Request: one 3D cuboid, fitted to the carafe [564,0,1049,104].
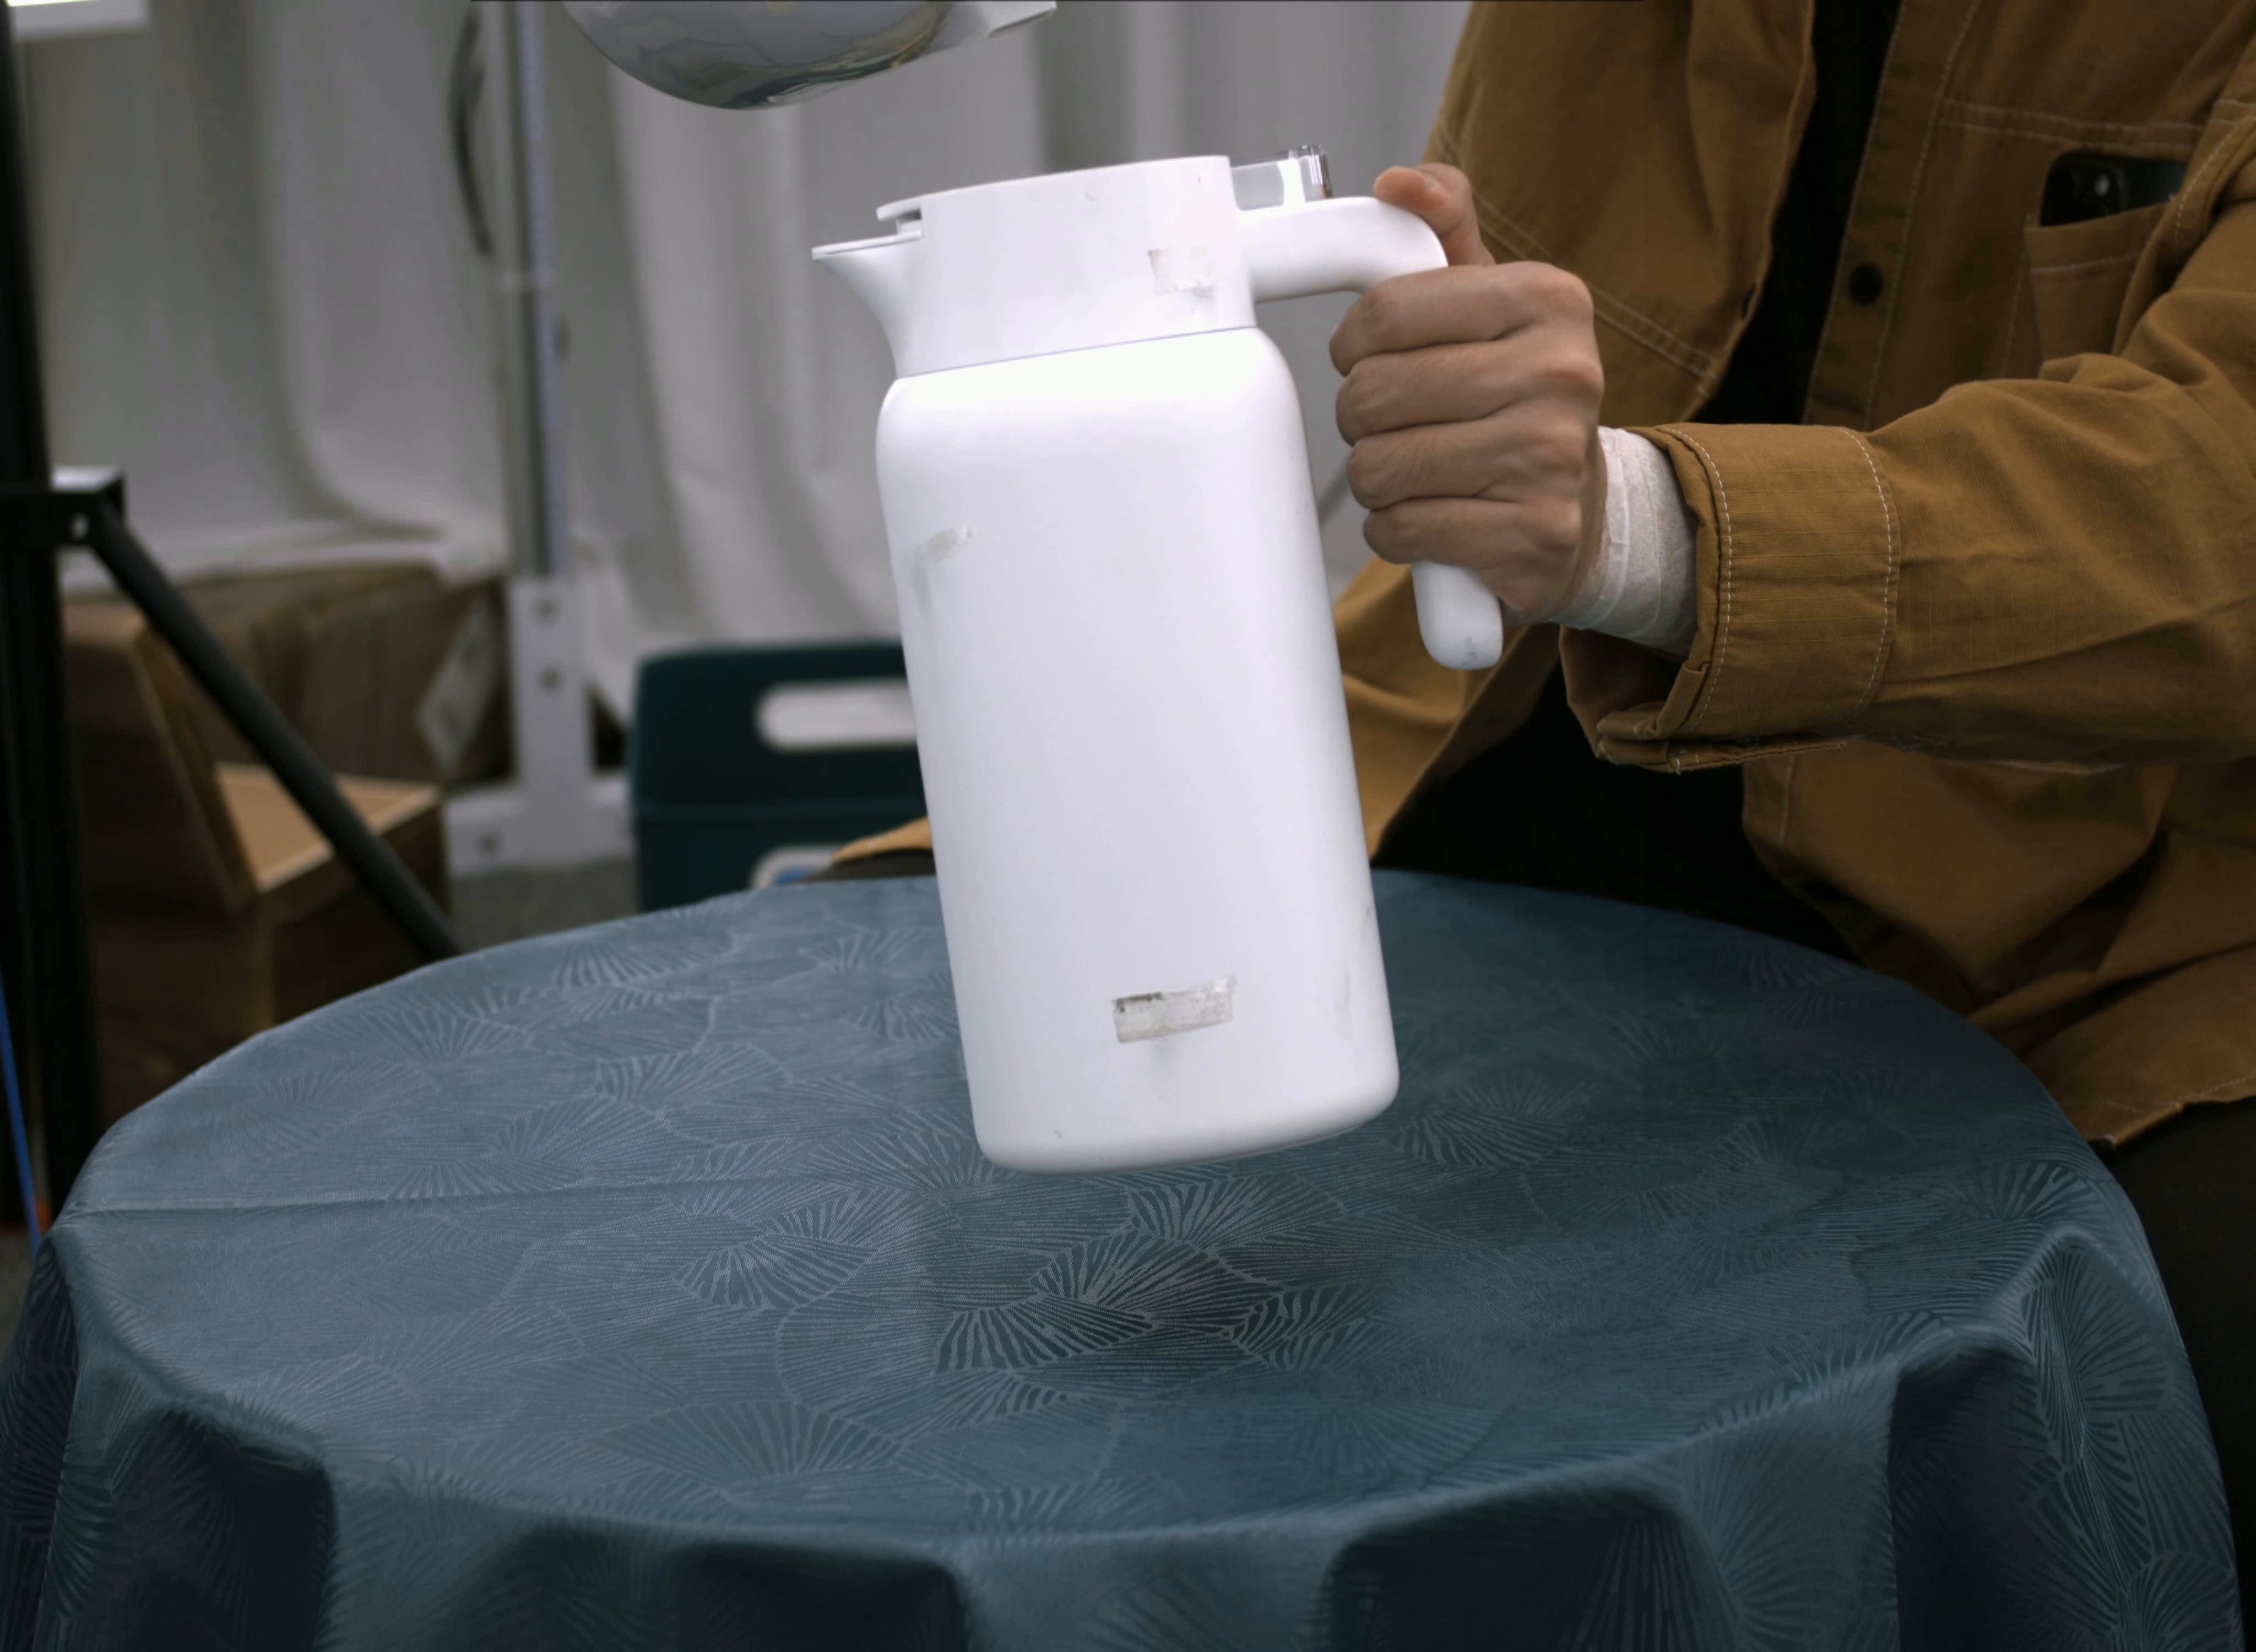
[{"bbox_3d":[-0.086,-0.299,1.516,0.131,0.168,0.252,-22,8,-17],"label":"carafe"}]

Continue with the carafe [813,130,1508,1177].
[{"bbox_3d":[0.017,-0.048,1.440,0.171,0.270,0.124,-9,1,-8],"label":"carafe"}]
